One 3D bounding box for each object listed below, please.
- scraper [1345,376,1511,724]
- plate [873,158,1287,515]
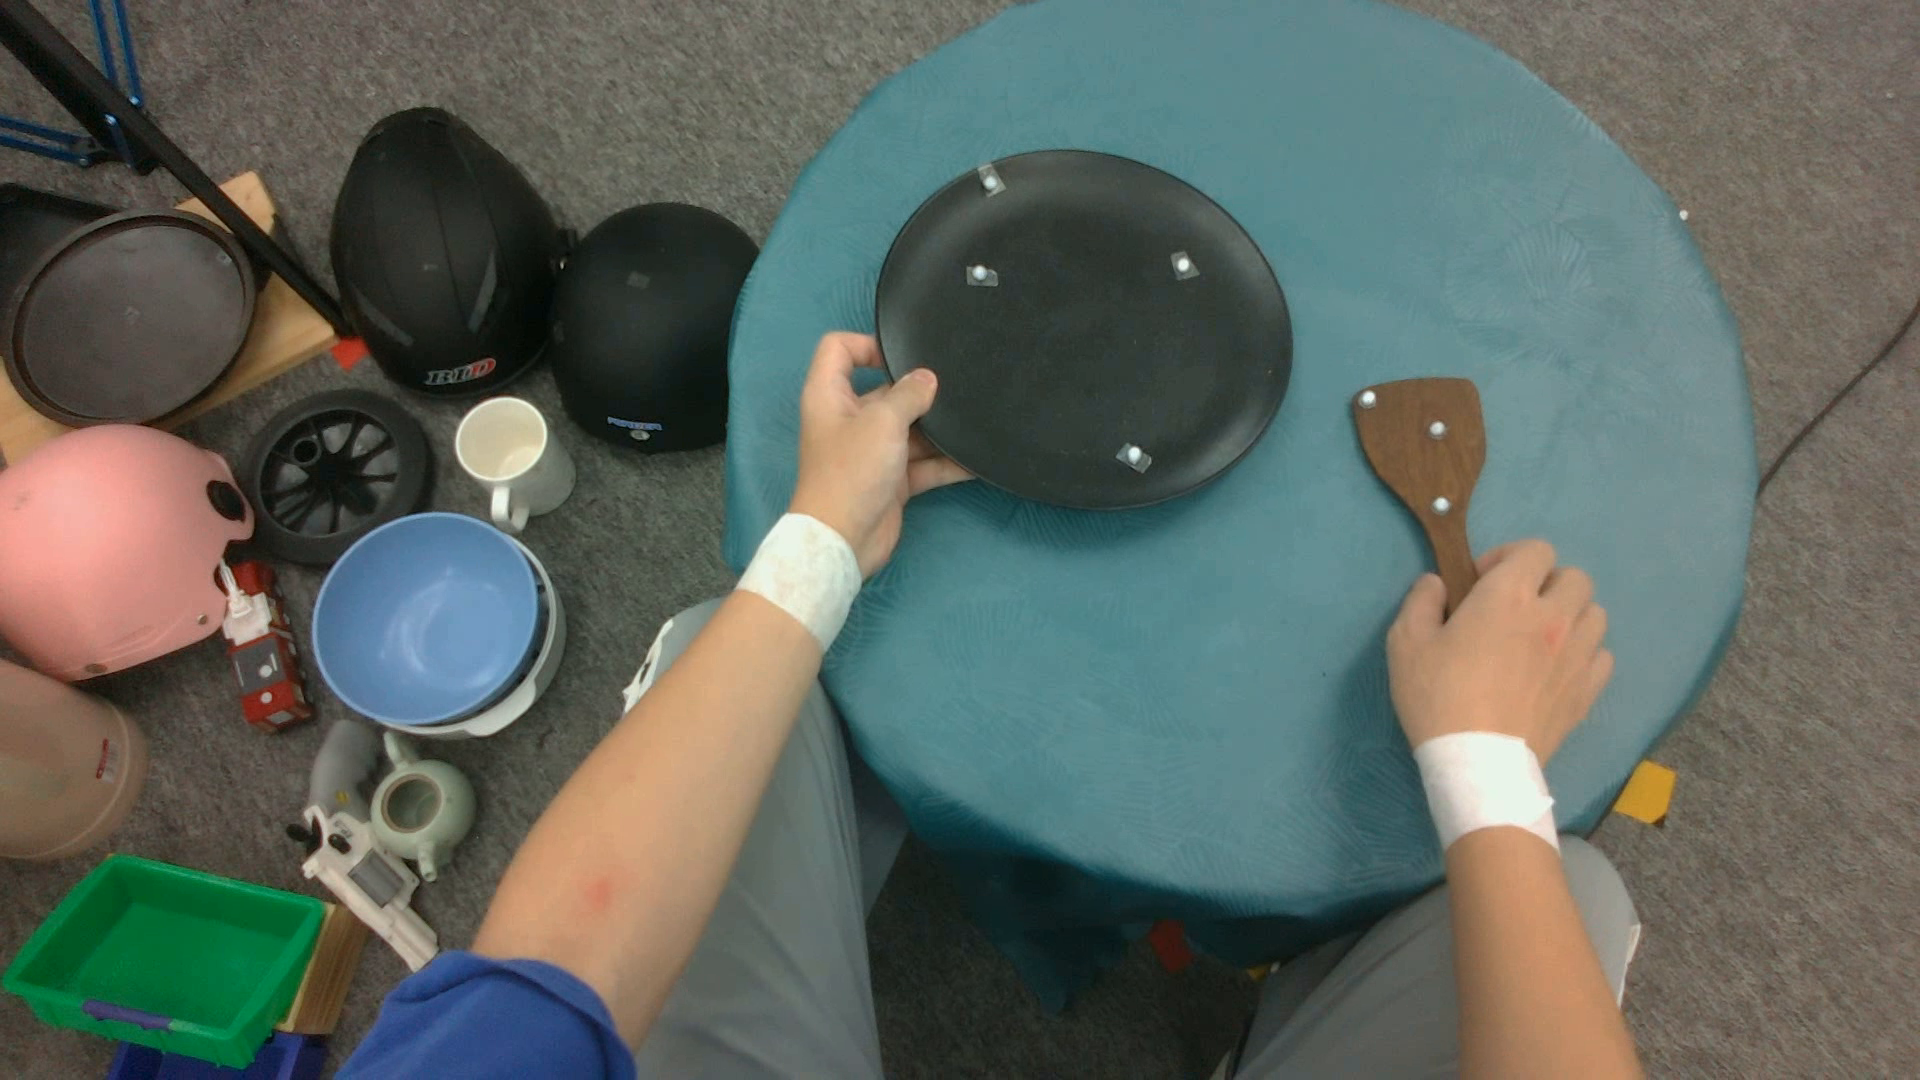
[{"bbox_3d":[0.271,0.001,0.774,0.076,0.011,0.212,-5,65,-1],"label":"scraper"},{"bbox_3d":[0.070,-0.122,0.810,0.244,0.023,0.245,2,66,-5],"label":"plate"}]
